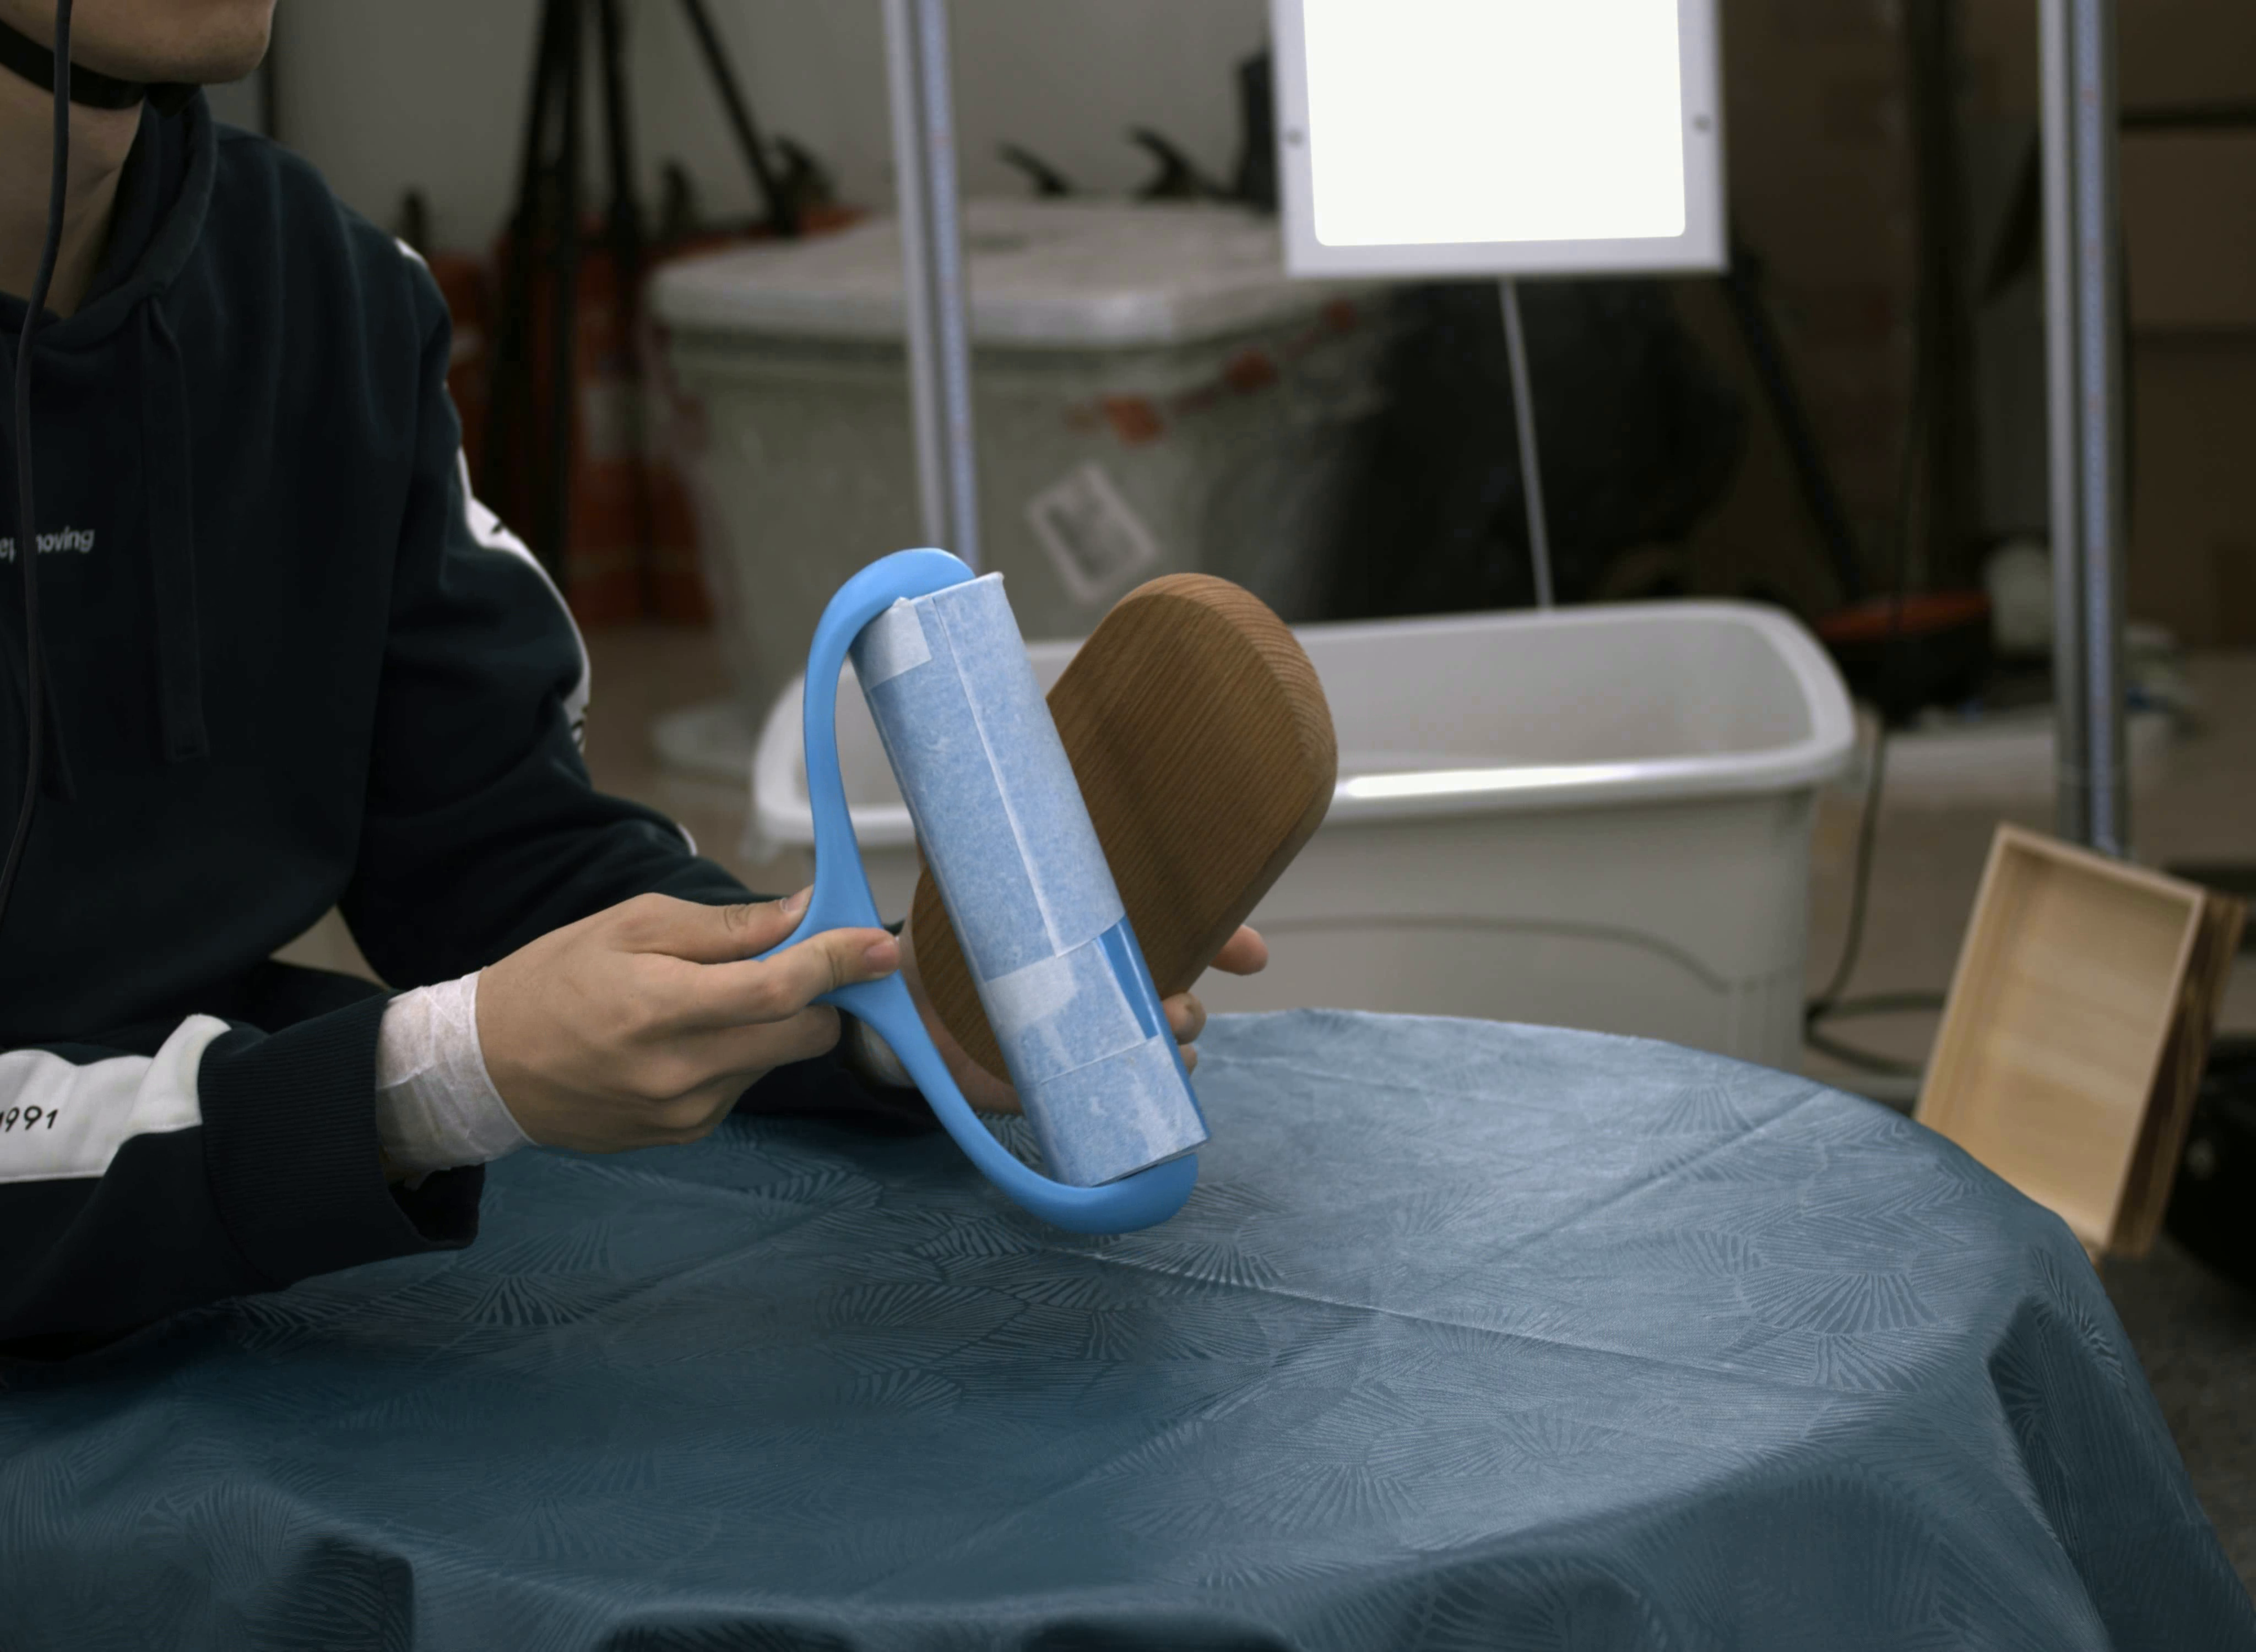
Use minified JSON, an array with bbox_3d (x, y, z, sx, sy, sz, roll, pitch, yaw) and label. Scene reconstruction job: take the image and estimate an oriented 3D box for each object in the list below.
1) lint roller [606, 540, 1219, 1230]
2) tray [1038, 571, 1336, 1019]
[{"bbox_3d":[-0.086,0.042,1.744,0.181,0.229,0.067,-24,-2,7],"label":"lint roller"},{"bbox_3d":[-0.007,0.006,1.815,0.020,0.102,0.235,-23,-21,-44],"label":"tray"}]
